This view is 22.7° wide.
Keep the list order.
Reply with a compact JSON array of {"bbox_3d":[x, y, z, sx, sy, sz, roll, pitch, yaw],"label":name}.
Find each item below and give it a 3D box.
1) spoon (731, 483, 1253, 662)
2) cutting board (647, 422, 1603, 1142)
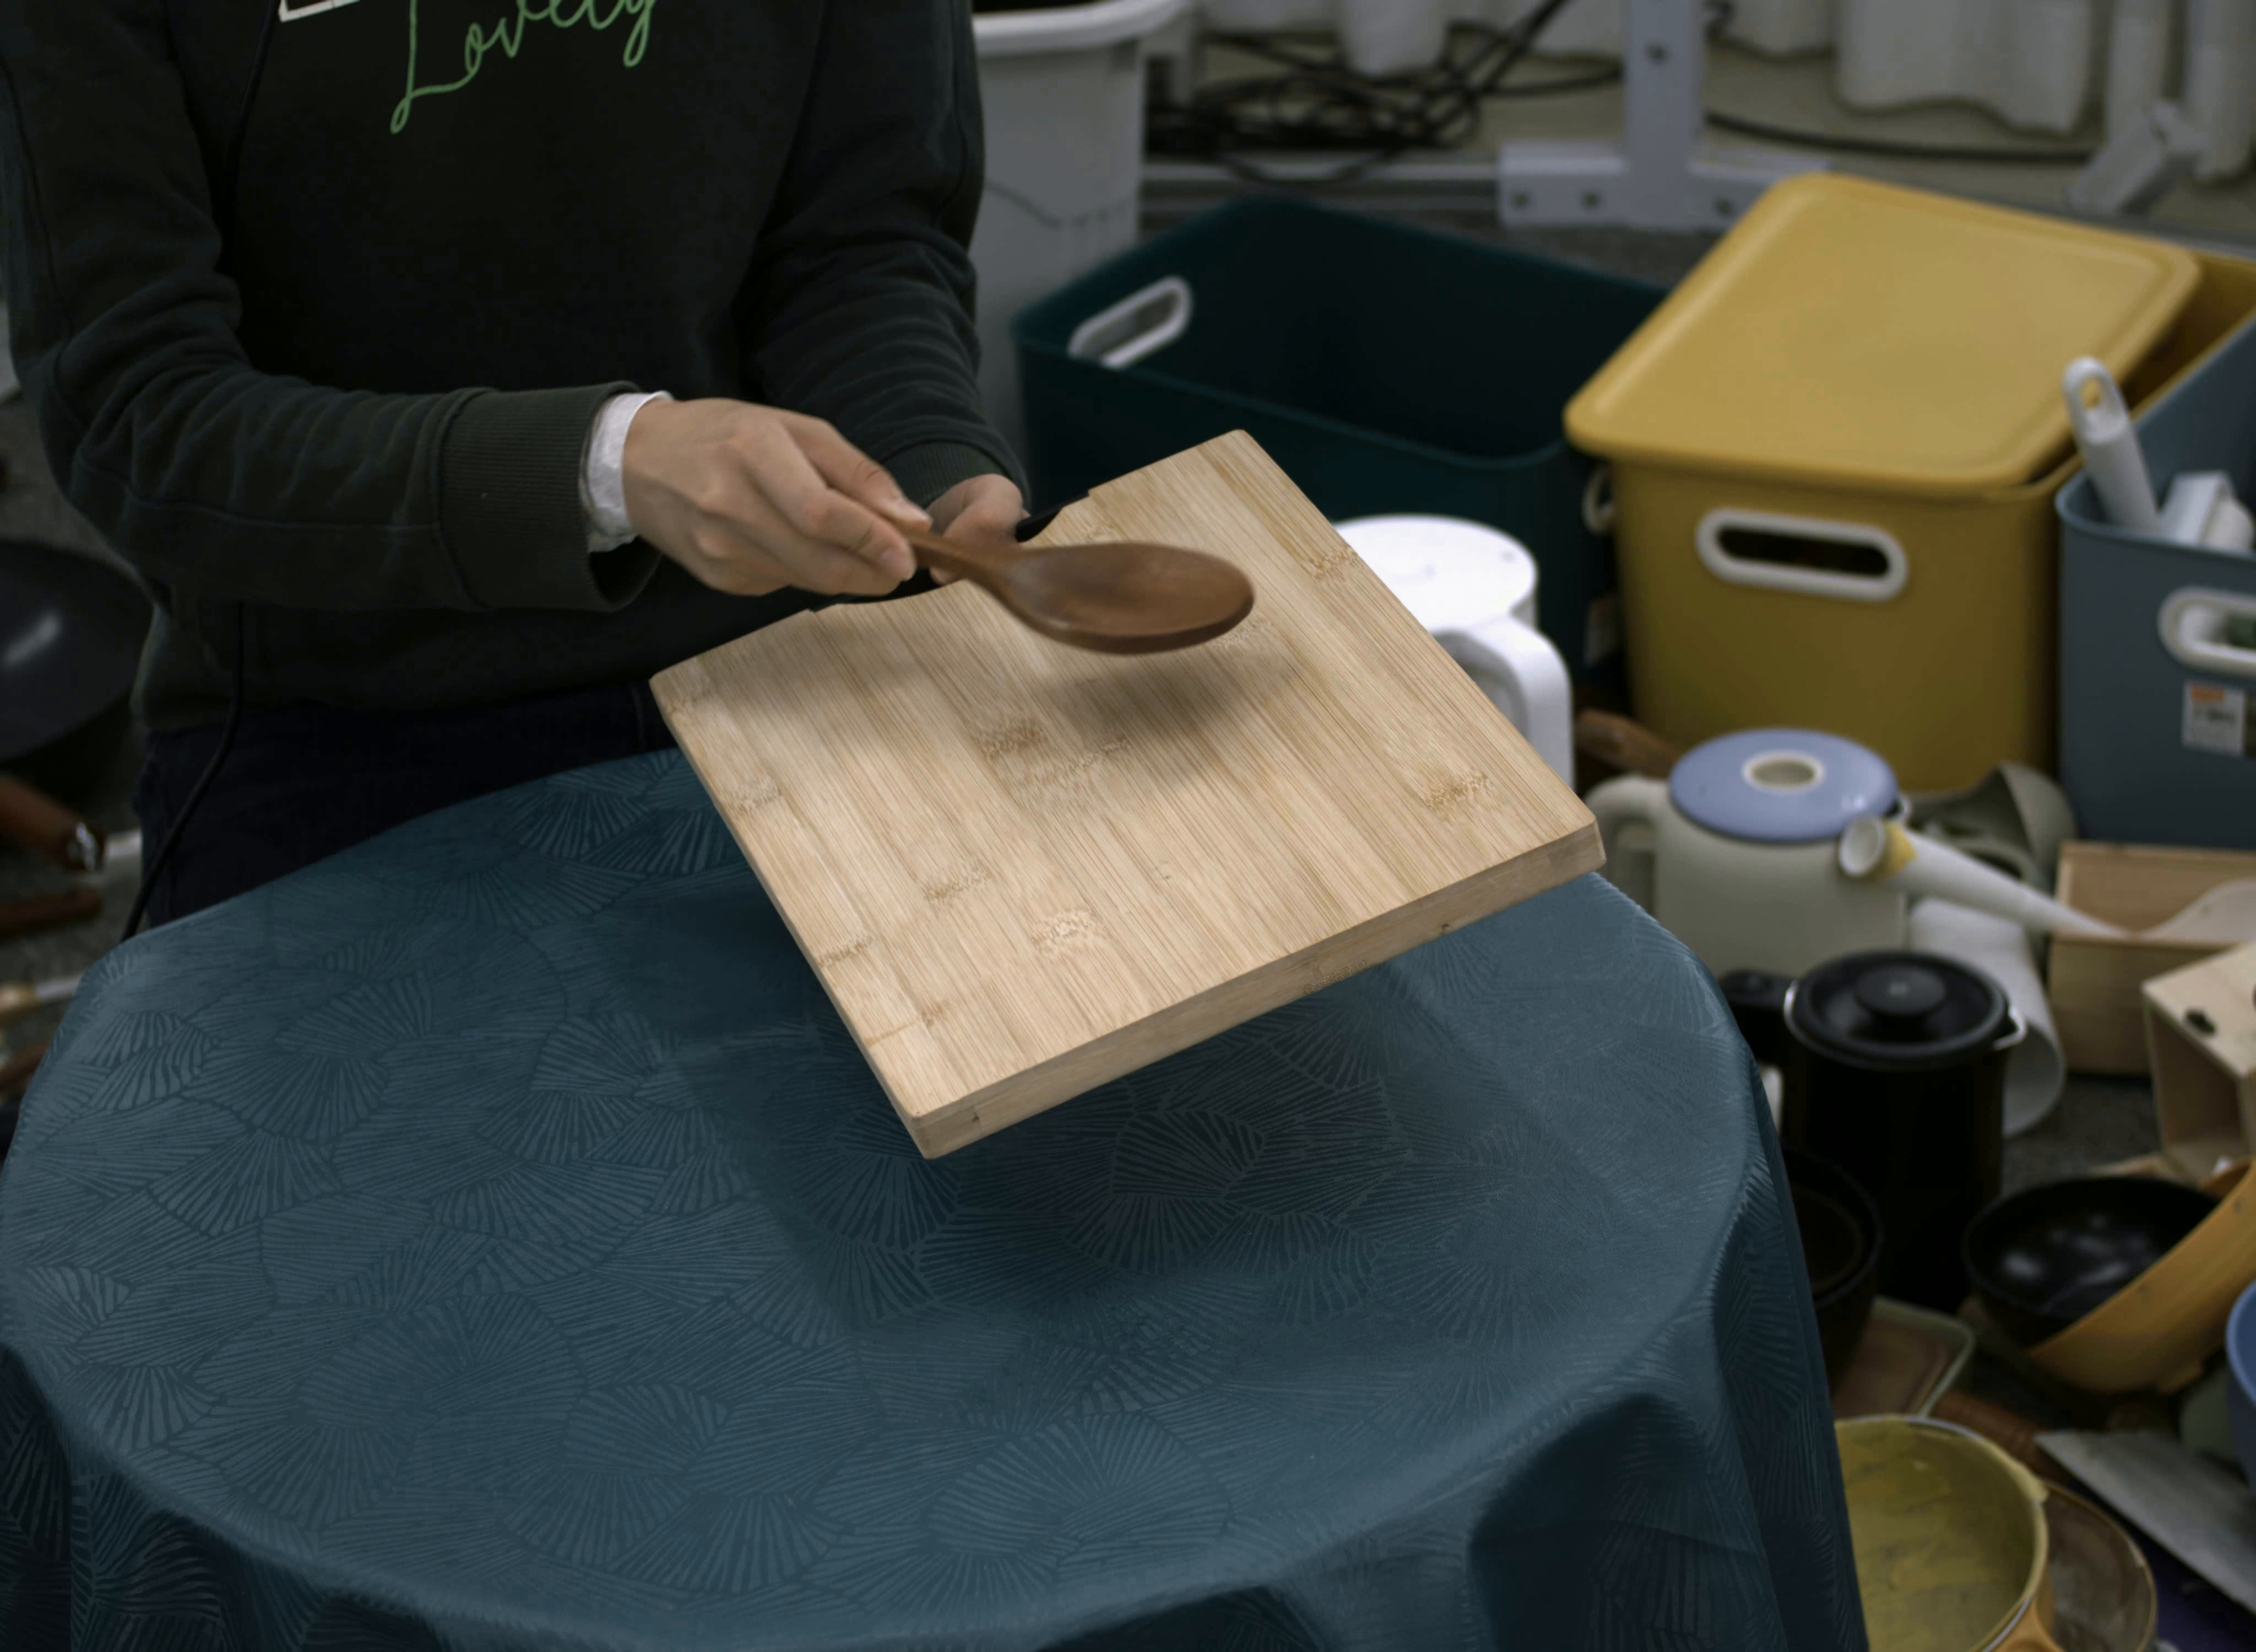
[{"bbox_3d":[-0.051,-0.089,1.943,0.215,0.017,0.076,17,34,33],"label":"spoon"},{"bbox_3d":[-0.011,-0.023,1.921,0.251,0.023,0.351,-23,30,-10],"label":"cutting board"}]
